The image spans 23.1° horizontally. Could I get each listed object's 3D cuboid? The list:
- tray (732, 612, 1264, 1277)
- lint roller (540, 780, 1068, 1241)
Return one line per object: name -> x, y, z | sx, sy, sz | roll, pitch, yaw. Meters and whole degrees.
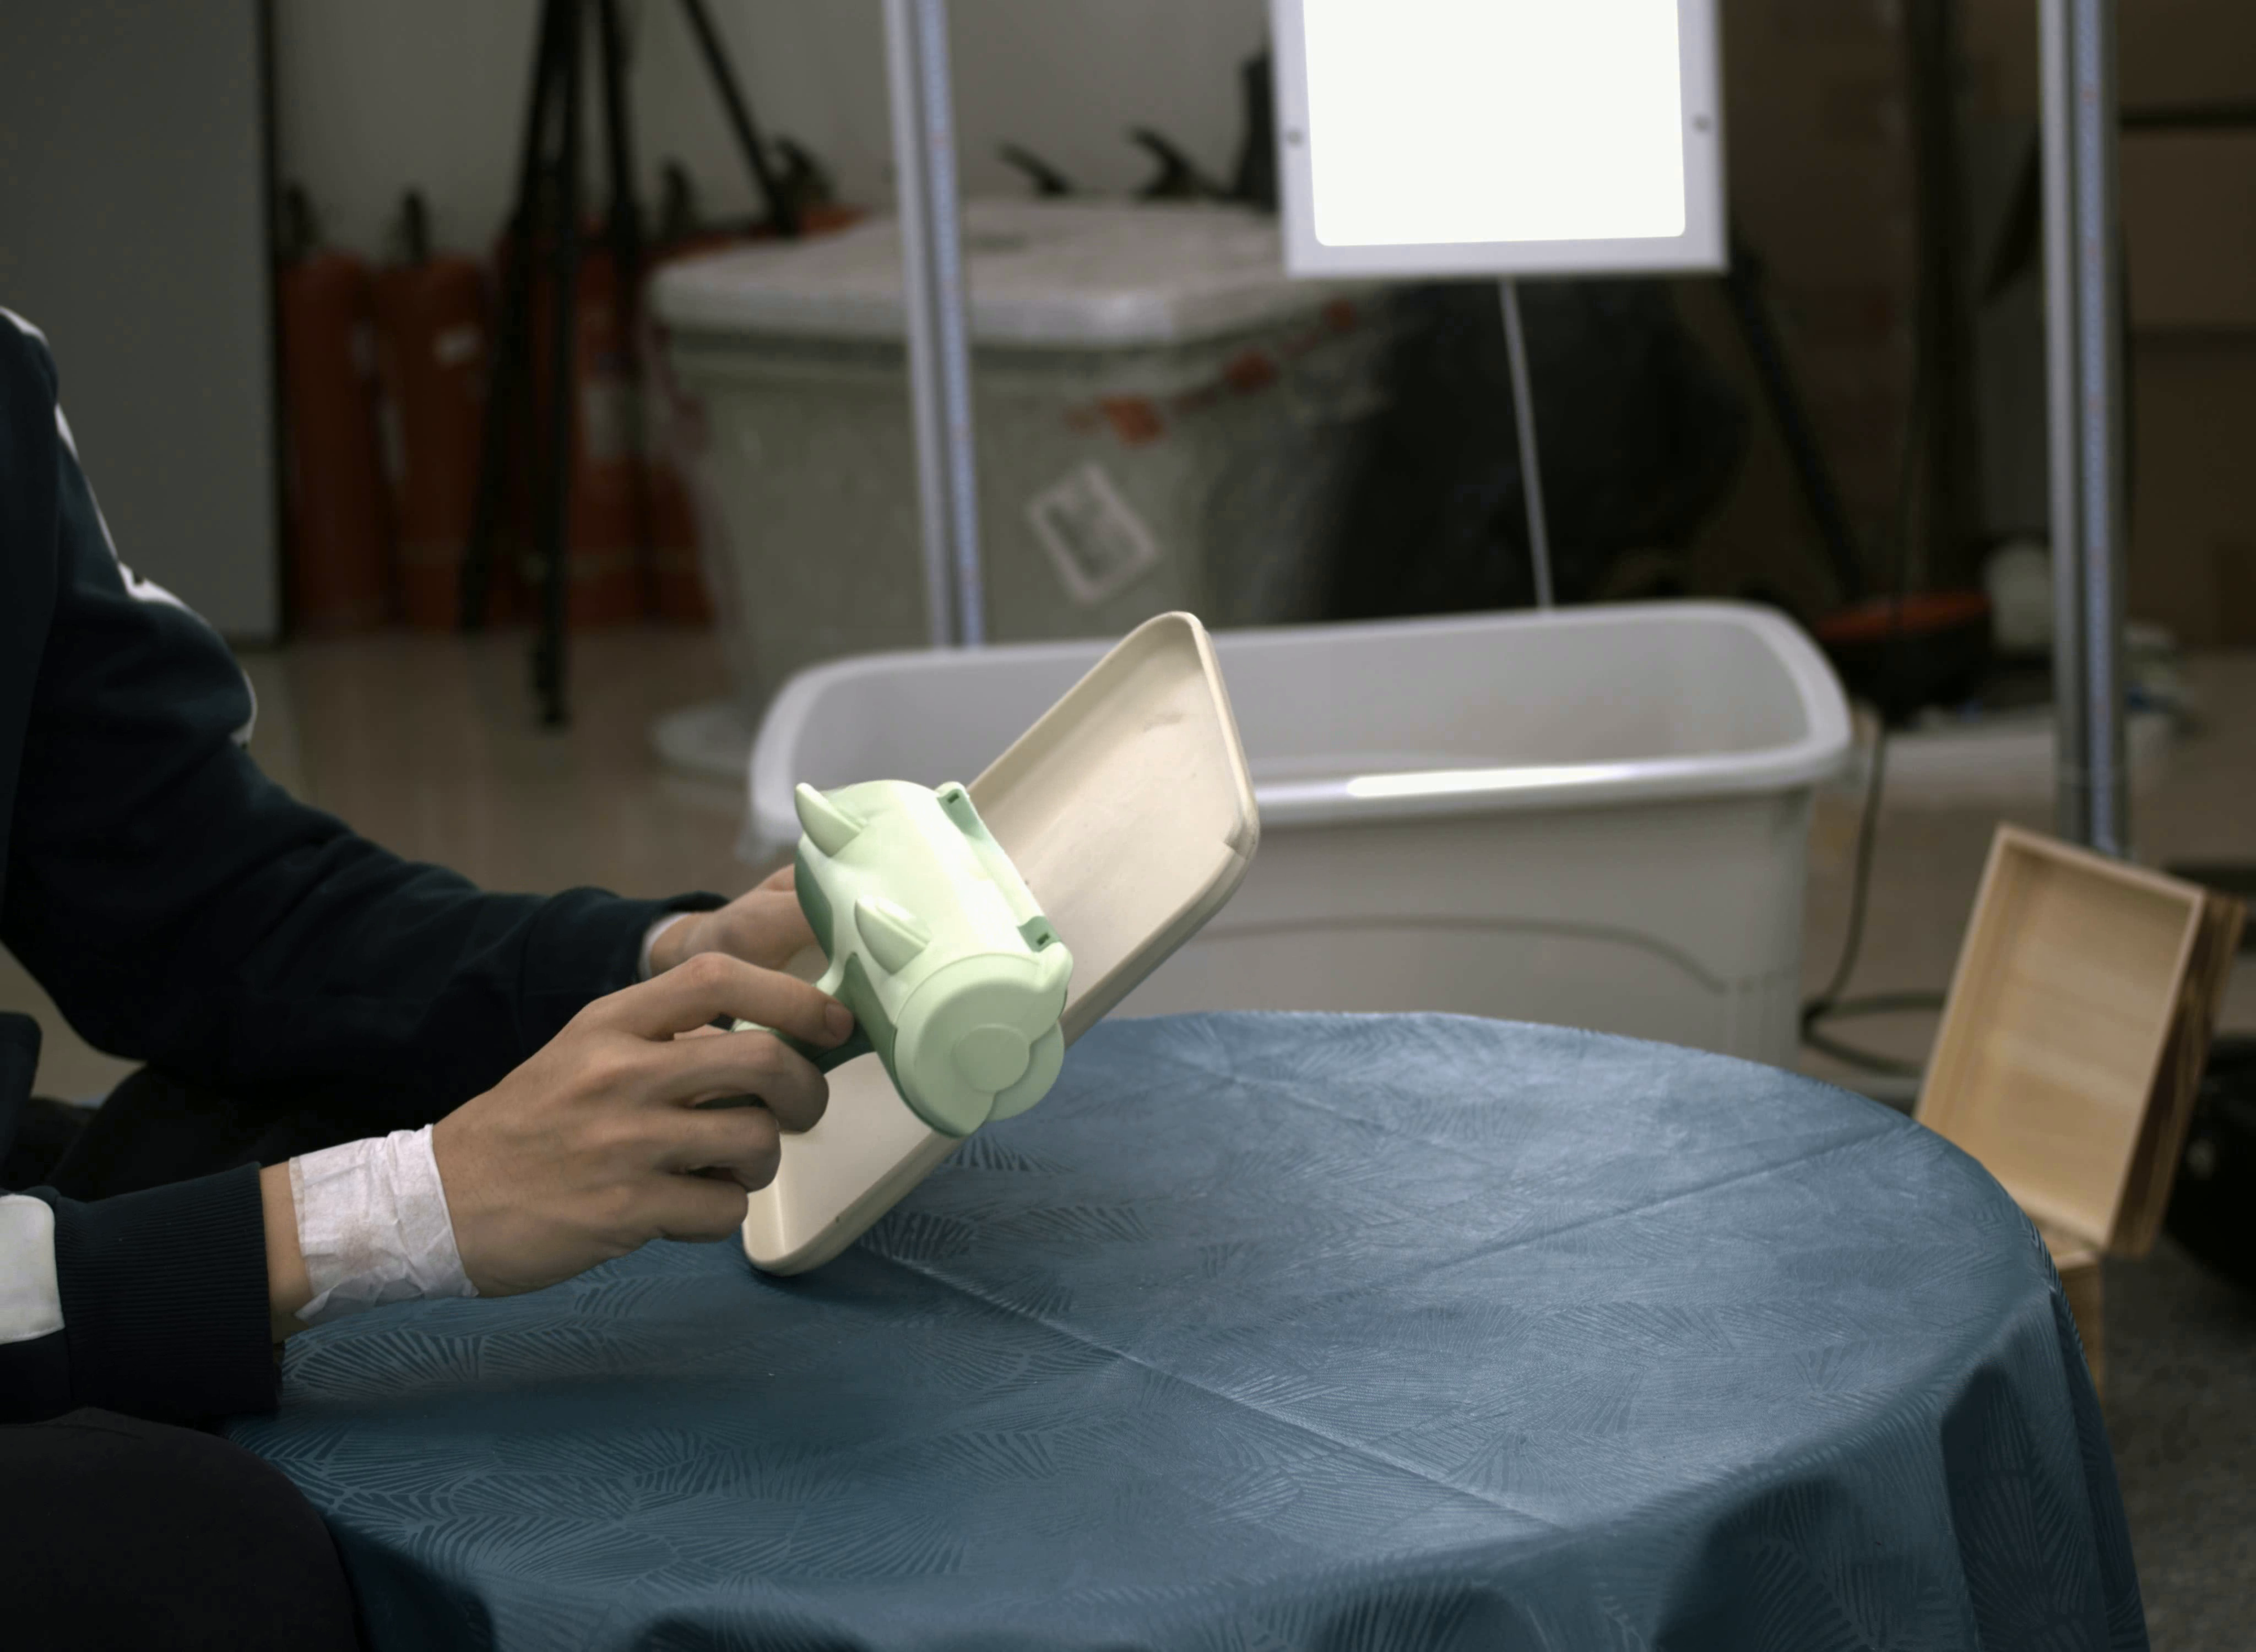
tray -> -0.046, 0.041, 1.859 | 0.242, 0.017, 0.171 | -43, 27, 18
lint roller -> -0.117, 0.059, 1.738 | 0.183, 0.082, 0.200 | -28, 22, -2
